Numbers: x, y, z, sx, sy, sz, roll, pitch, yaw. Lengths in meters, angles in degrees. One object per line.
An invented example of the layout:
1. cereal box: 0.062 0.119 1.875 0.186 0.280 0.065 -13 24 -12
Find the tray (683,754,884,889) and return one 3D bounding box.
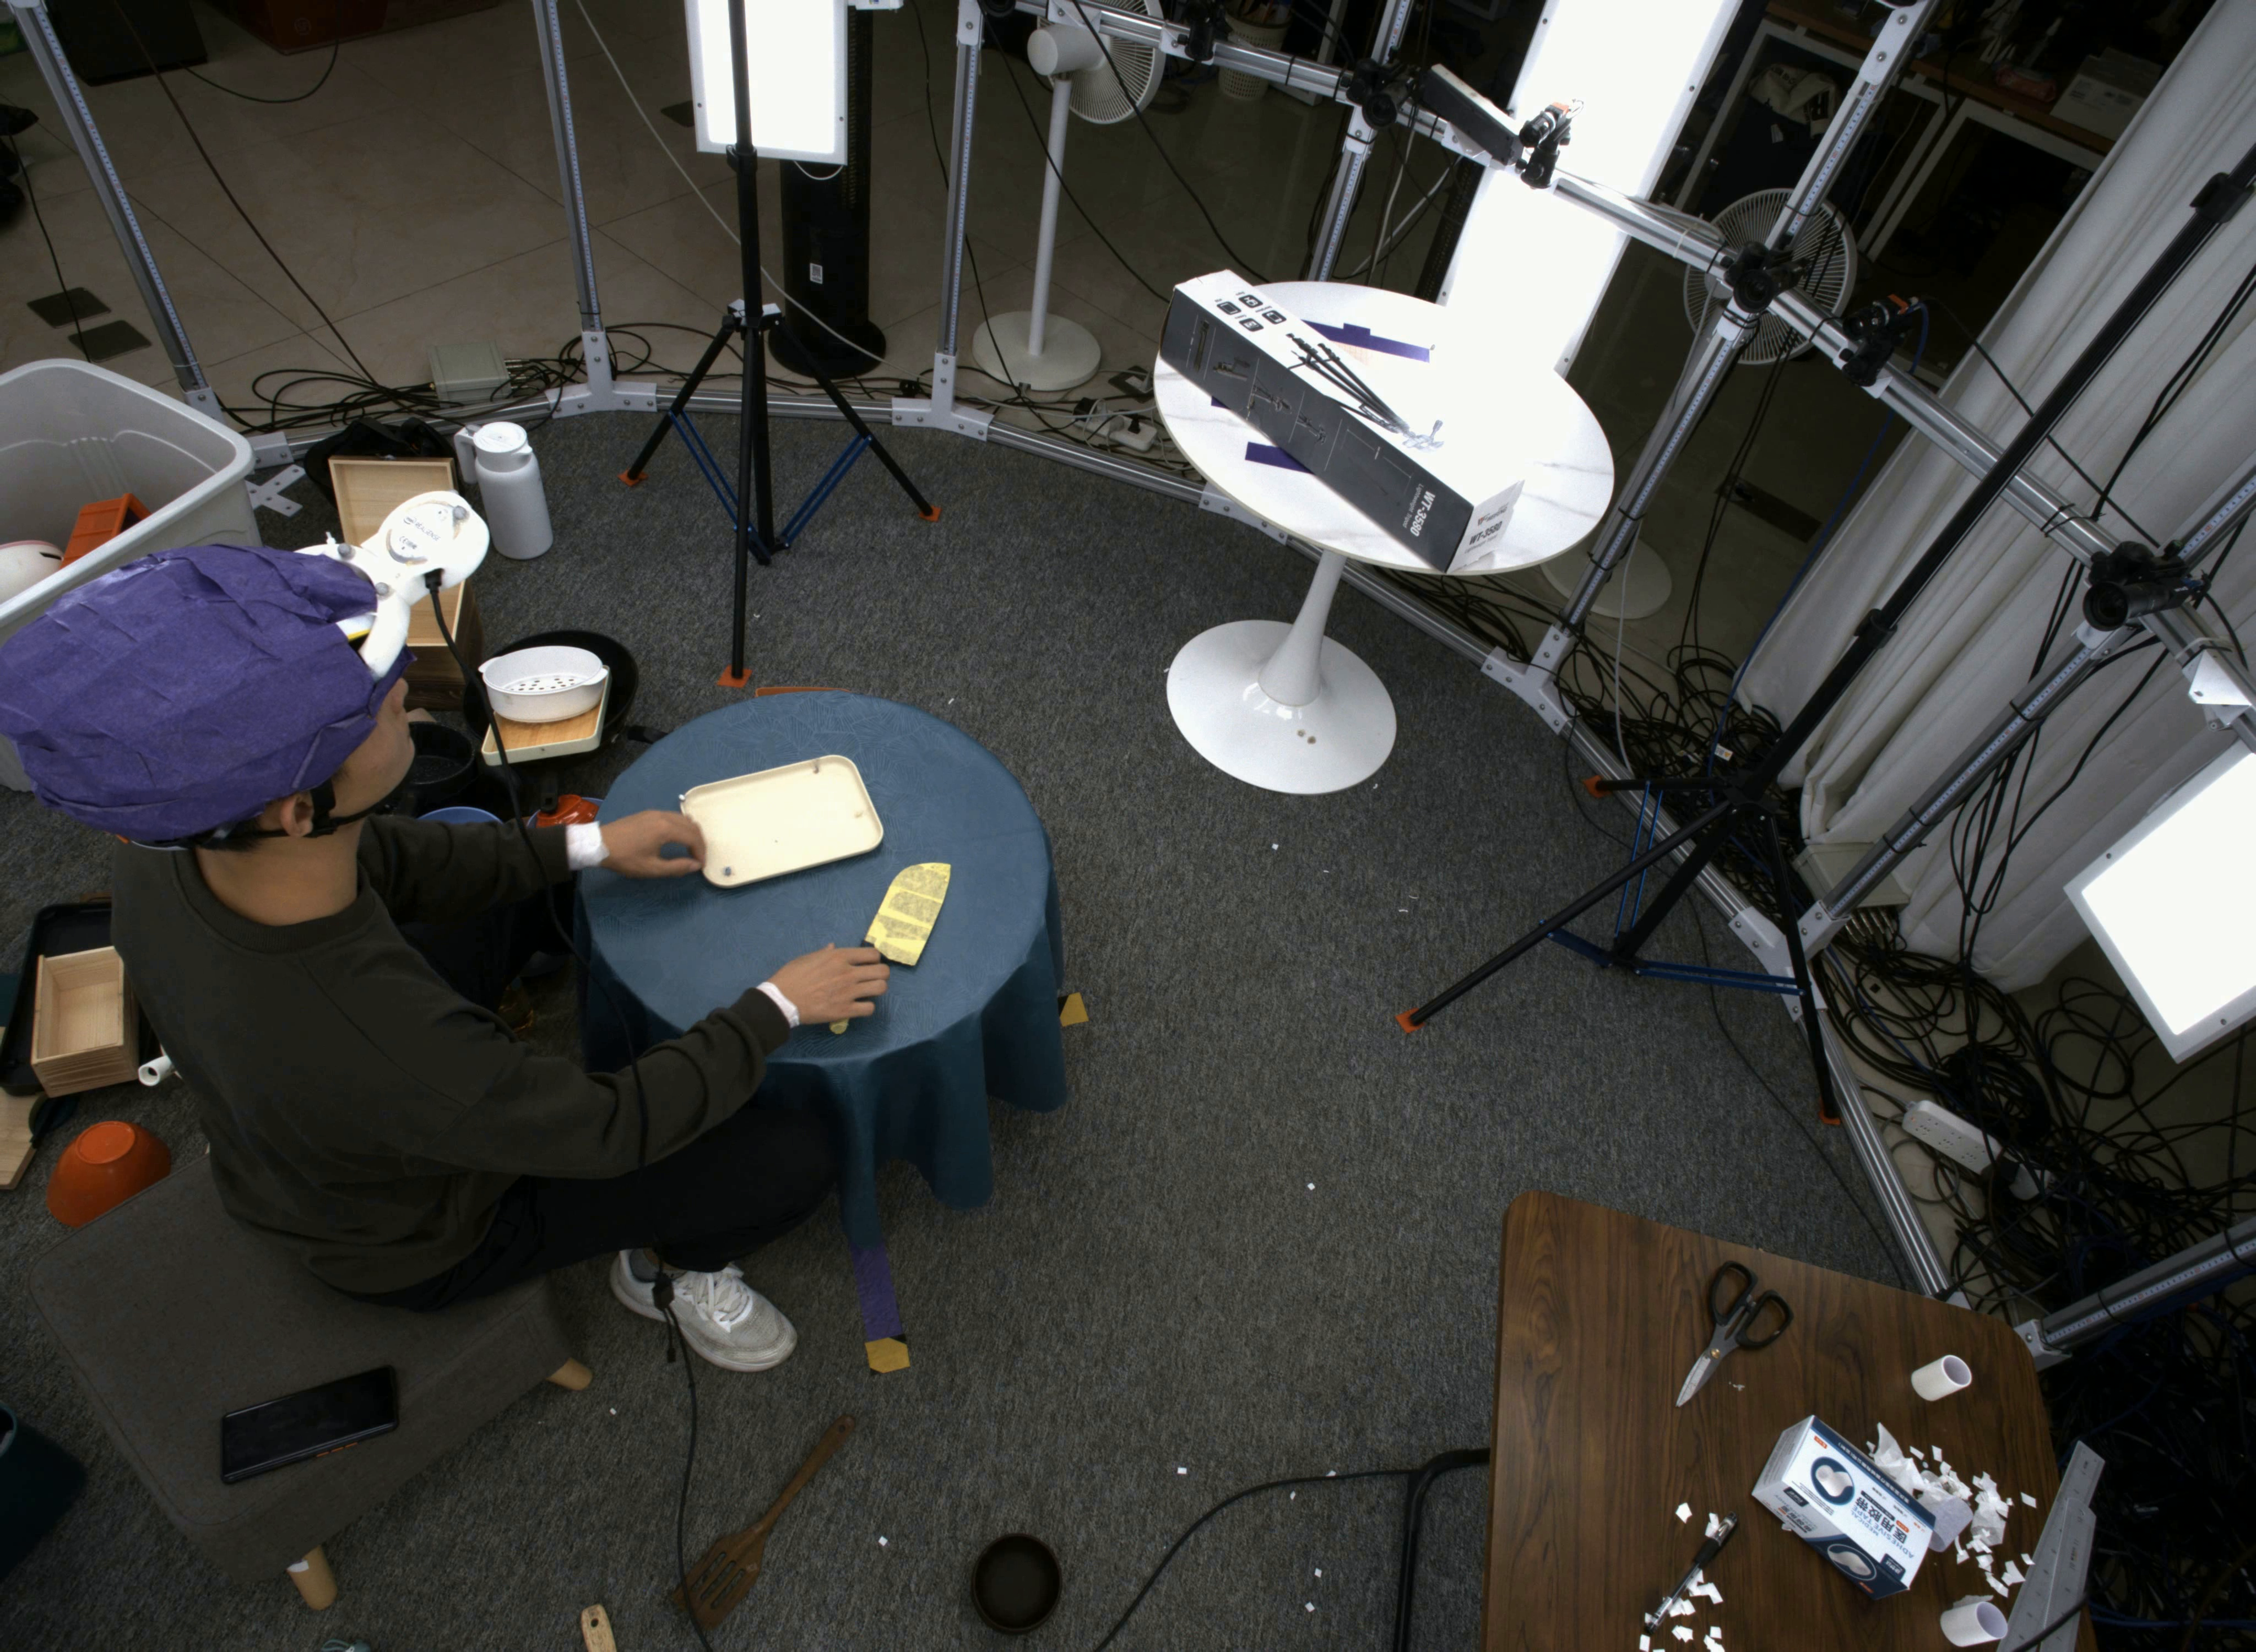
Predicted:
1. tray: -0.457 -0.008 1.721 0.241 0.018 0.167 -16 60 -24

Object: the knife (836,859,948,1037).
1. knife: -0.296 0.147 1.650 0.080 0.028 0.286 19 51 3
